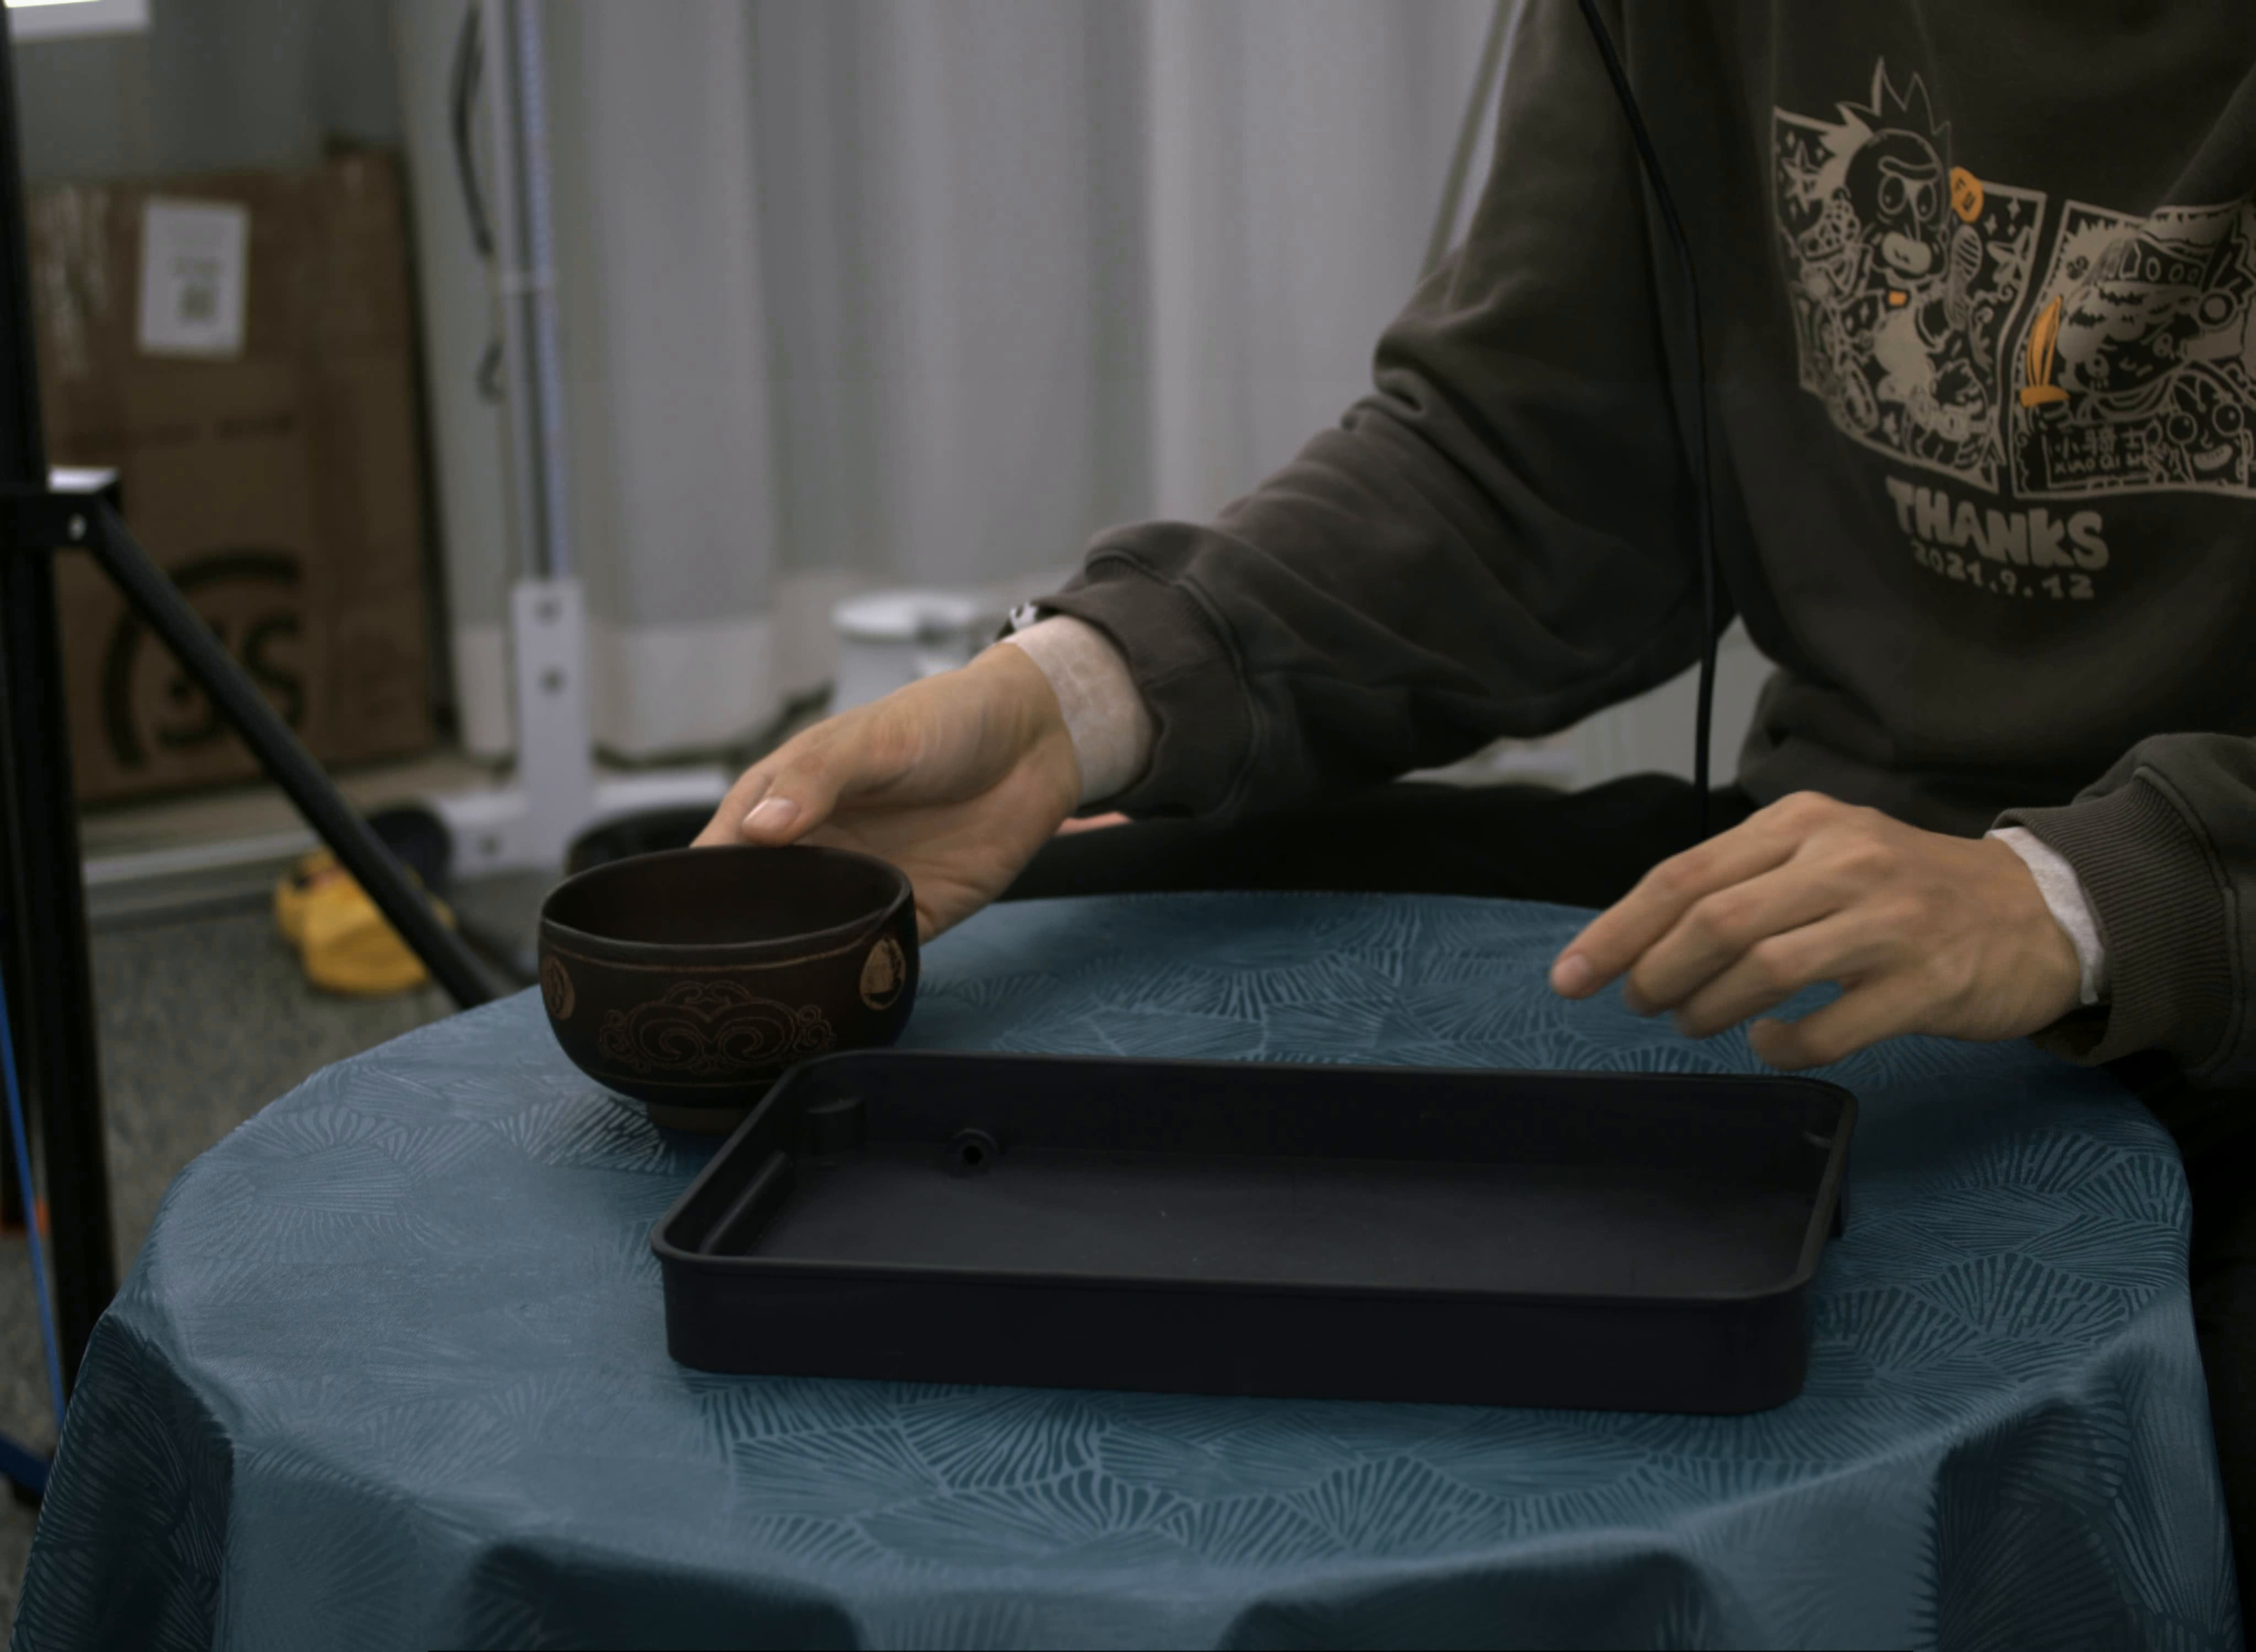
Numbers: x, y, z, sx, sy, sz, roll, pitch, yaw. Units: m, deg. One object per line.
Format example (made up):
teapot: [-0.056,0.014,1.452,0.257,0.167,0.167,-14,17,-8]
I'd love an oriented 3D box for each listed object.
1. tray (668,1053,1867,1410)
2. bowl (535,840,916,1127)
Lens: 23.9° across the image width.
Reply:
tray: [0.044,0.111,1.481,0.320,0.037,0.183,0,15,12]
bowl: [-0.124,0.052,1.650,0.117,0.070,0.118,-2,14,-1]
